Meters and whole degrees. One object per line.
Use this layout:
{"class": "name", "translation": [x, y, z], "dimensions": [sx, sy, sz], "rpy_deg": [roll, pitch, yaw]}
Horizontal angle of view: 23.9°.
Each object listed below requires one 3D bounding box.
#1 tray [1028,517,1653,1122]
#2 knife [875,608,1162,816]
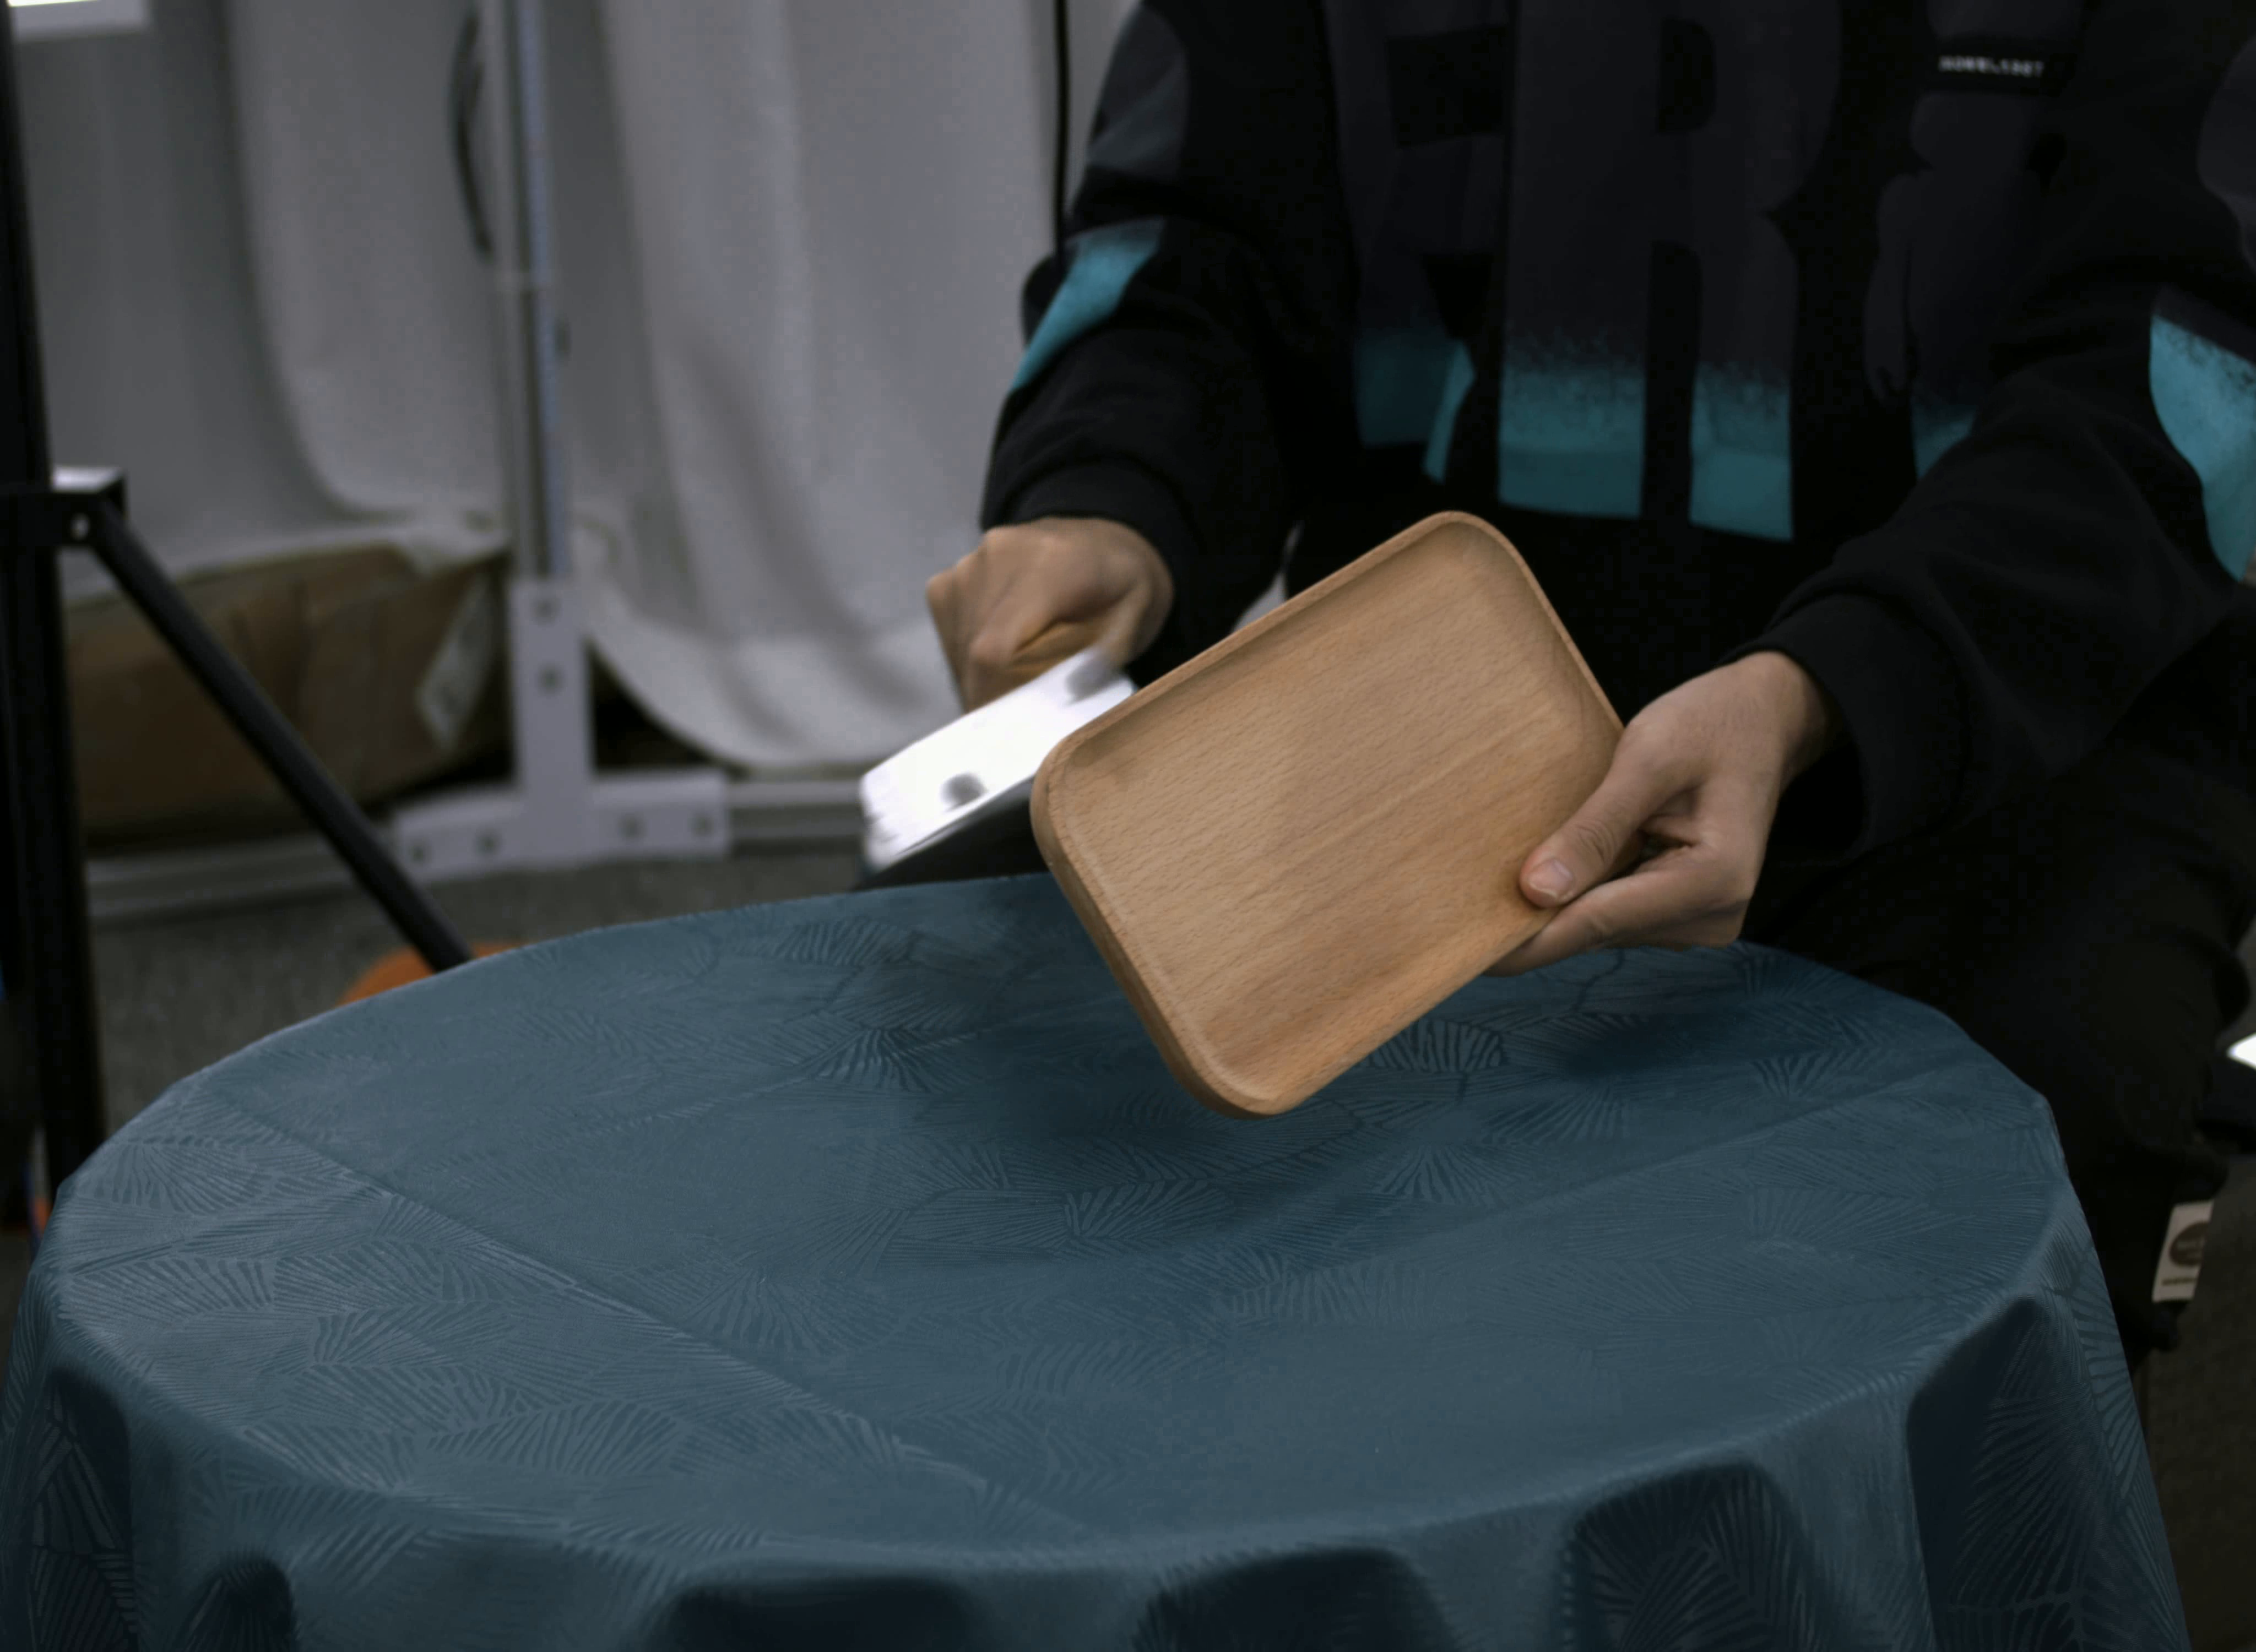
{"class": "tray", "translation": [0.067, -0.005, 1.602], "dimensions": [0.023, 0.131, 0.246], "rpy_deg": [-28, 1, 42]}
{"class": "knife", "translation": [-0.042, -0.037, 1.789], "dimensions": [0.092, 0.021, 0.308], "rpy_deg": [-30, 10, -3]}
